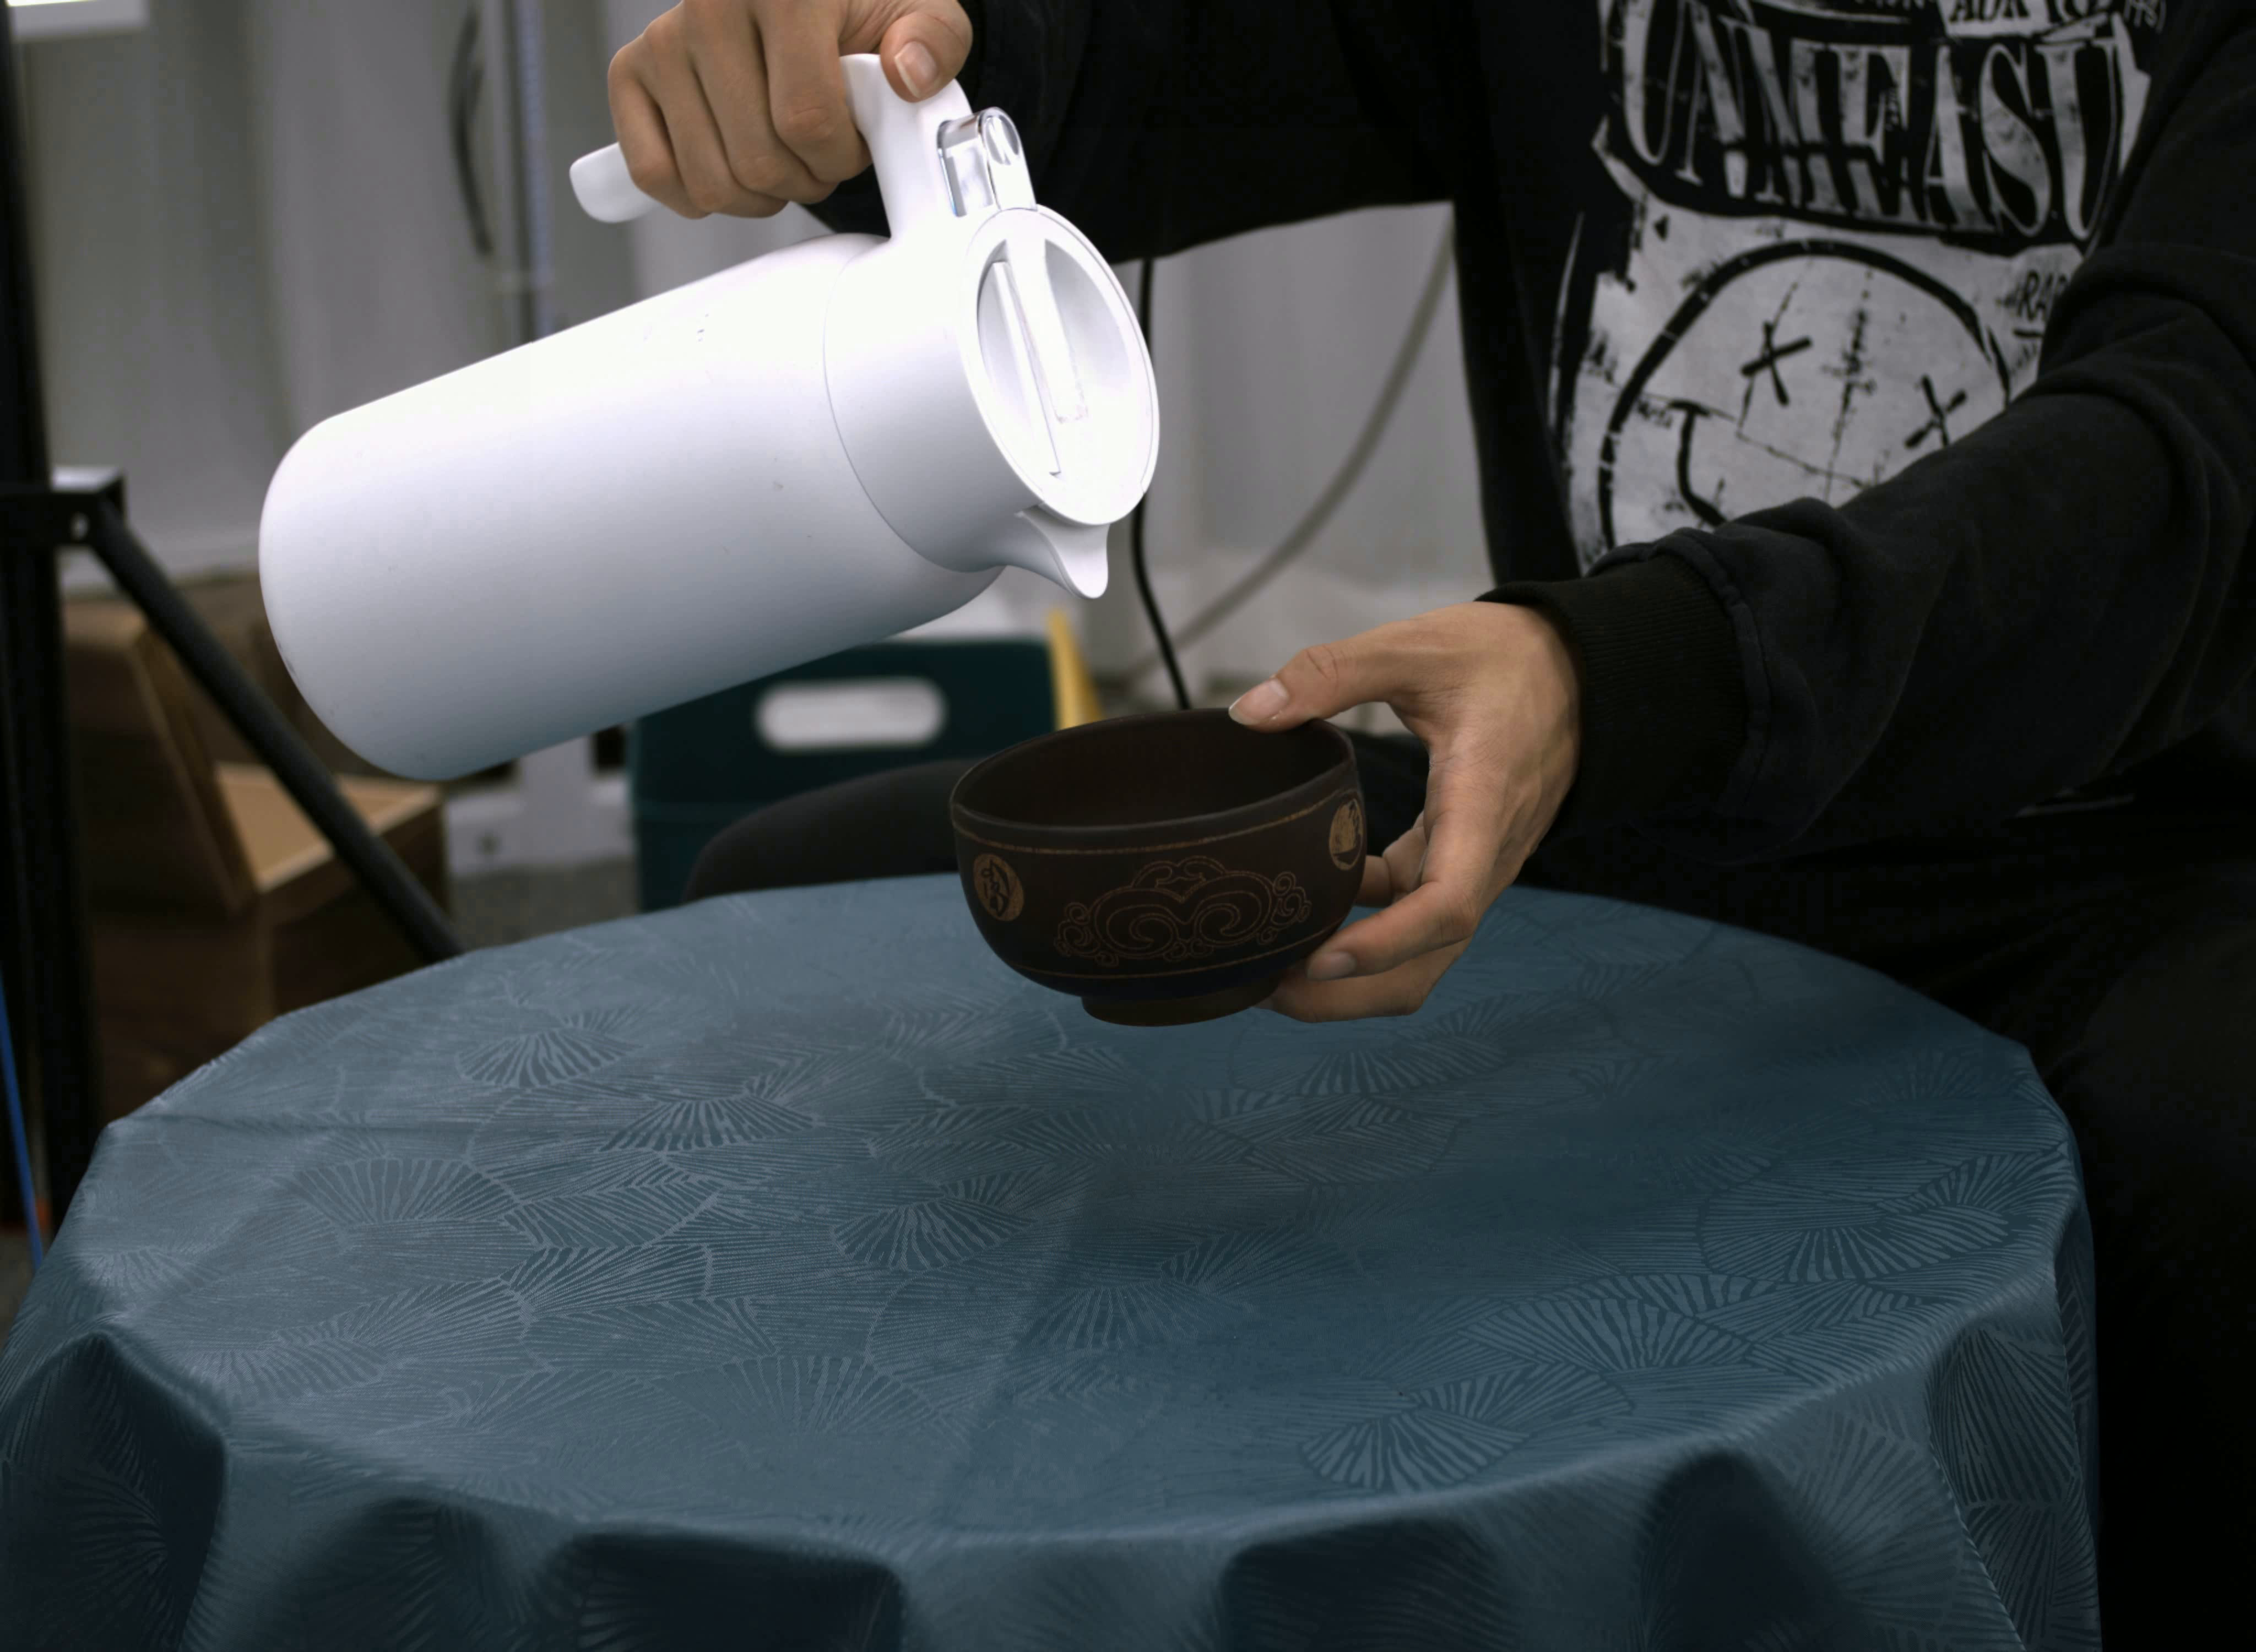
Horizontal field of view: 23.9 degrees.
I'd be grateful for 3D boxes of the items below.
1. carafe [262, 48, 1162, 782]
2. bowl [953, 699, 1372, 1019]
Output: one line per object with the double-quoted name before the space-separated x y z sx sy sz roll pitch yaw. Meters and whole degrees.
"carafe" -0.130 -0.117 1.583 0.273 0.174 0.121 -18 -3 36
"bowl" 0.012 0.013 1.505 0.117 0.070 0.118 -8 15 1
